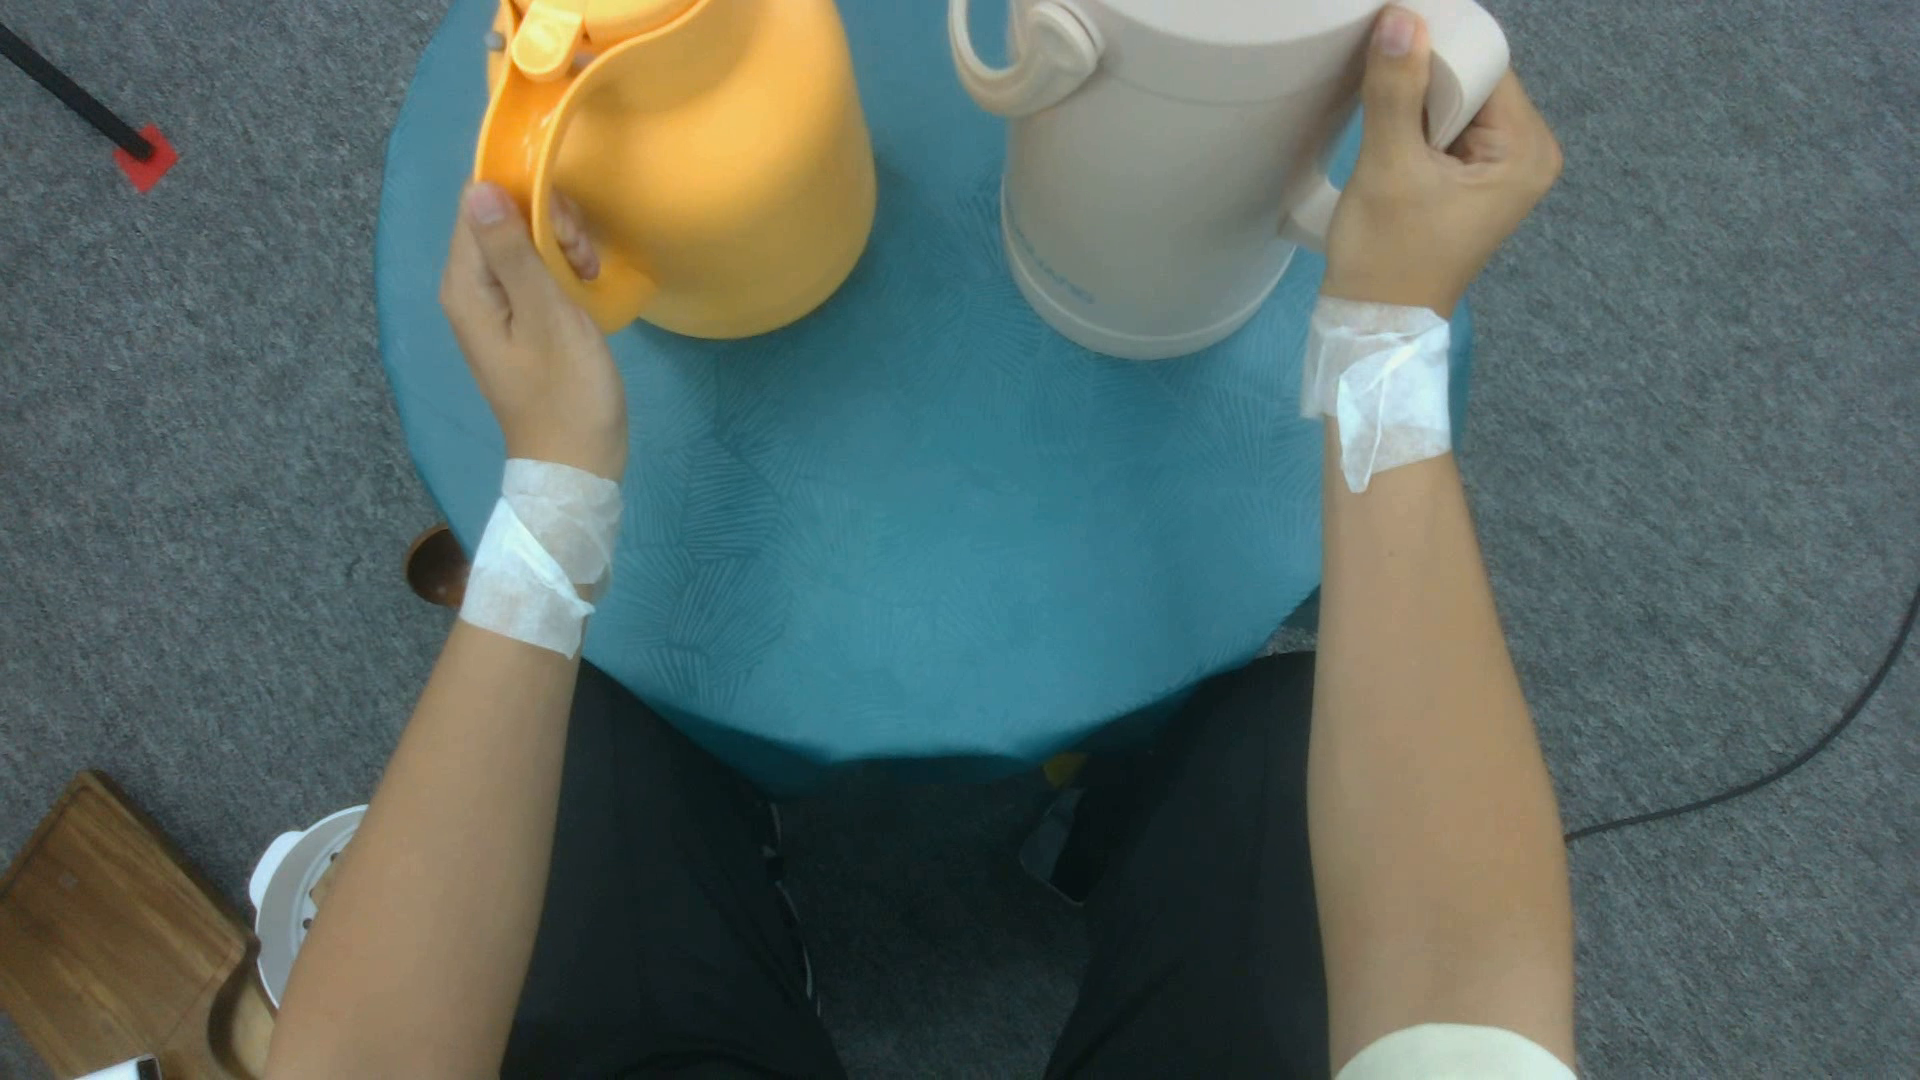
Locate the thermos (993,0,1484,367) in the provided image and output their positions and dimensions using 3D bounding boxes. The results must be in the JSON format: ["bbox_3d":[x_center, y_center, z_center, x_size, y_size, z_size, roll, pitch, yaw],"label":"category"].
[{"bbox_3d":[0.106,-0.202,0.574,0.175,0.405,0.207,-44,79,-8],"label":"thermos"}]

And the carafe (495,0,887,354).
[{"bbox_3d":[-0.134,-0.184,0.648,0.163,0.260,0.203,22,78,9],"label":"carafe"}]
